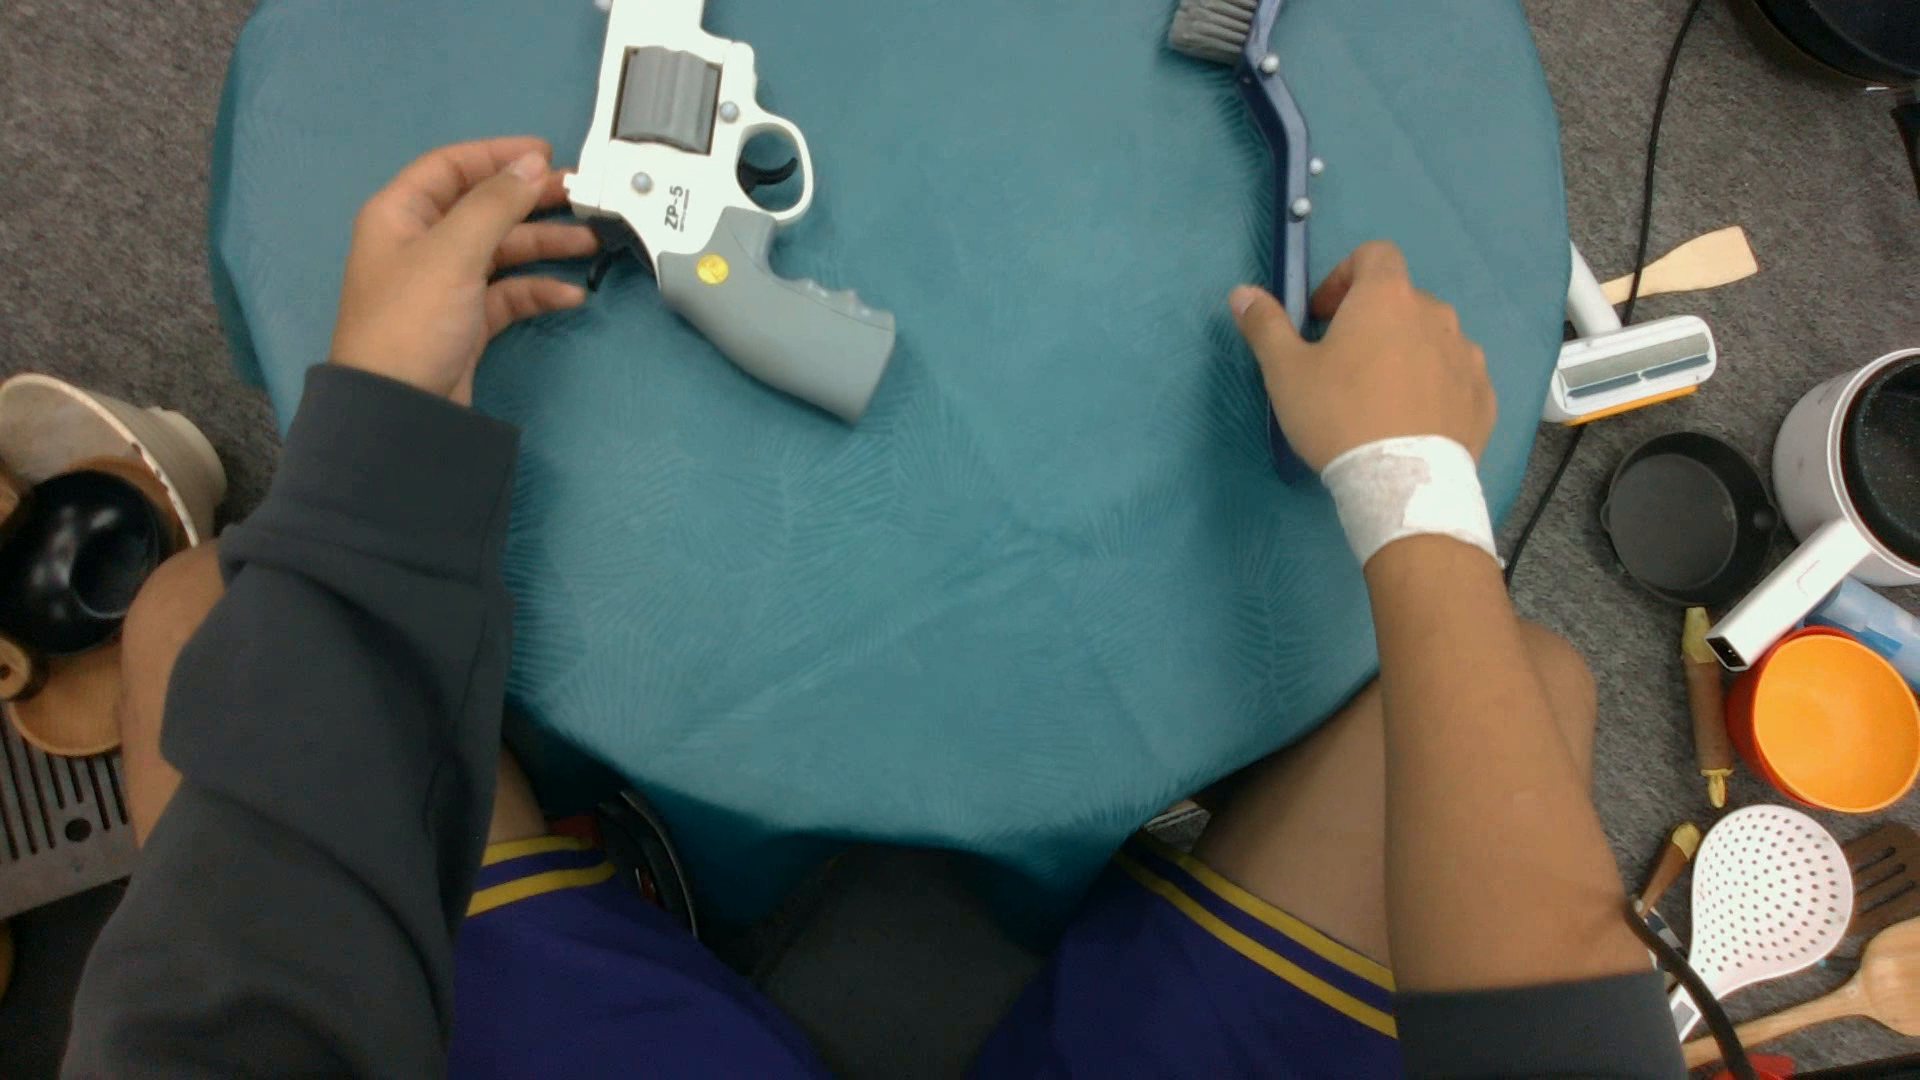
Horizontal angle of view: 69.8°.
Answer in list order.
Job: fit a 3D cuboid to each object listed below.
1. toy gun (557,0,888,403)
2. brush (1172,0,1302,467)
[{"bbox_3d":[-0.094,-0.168,0.584,0.142,0.039,0.209,7,81,-9],"label":"toy gun"},{"bbox_3d":[0.151,-0.170,0.623,0.096,0.033,0.273,-4,82,-9],"label":"brush"}]
